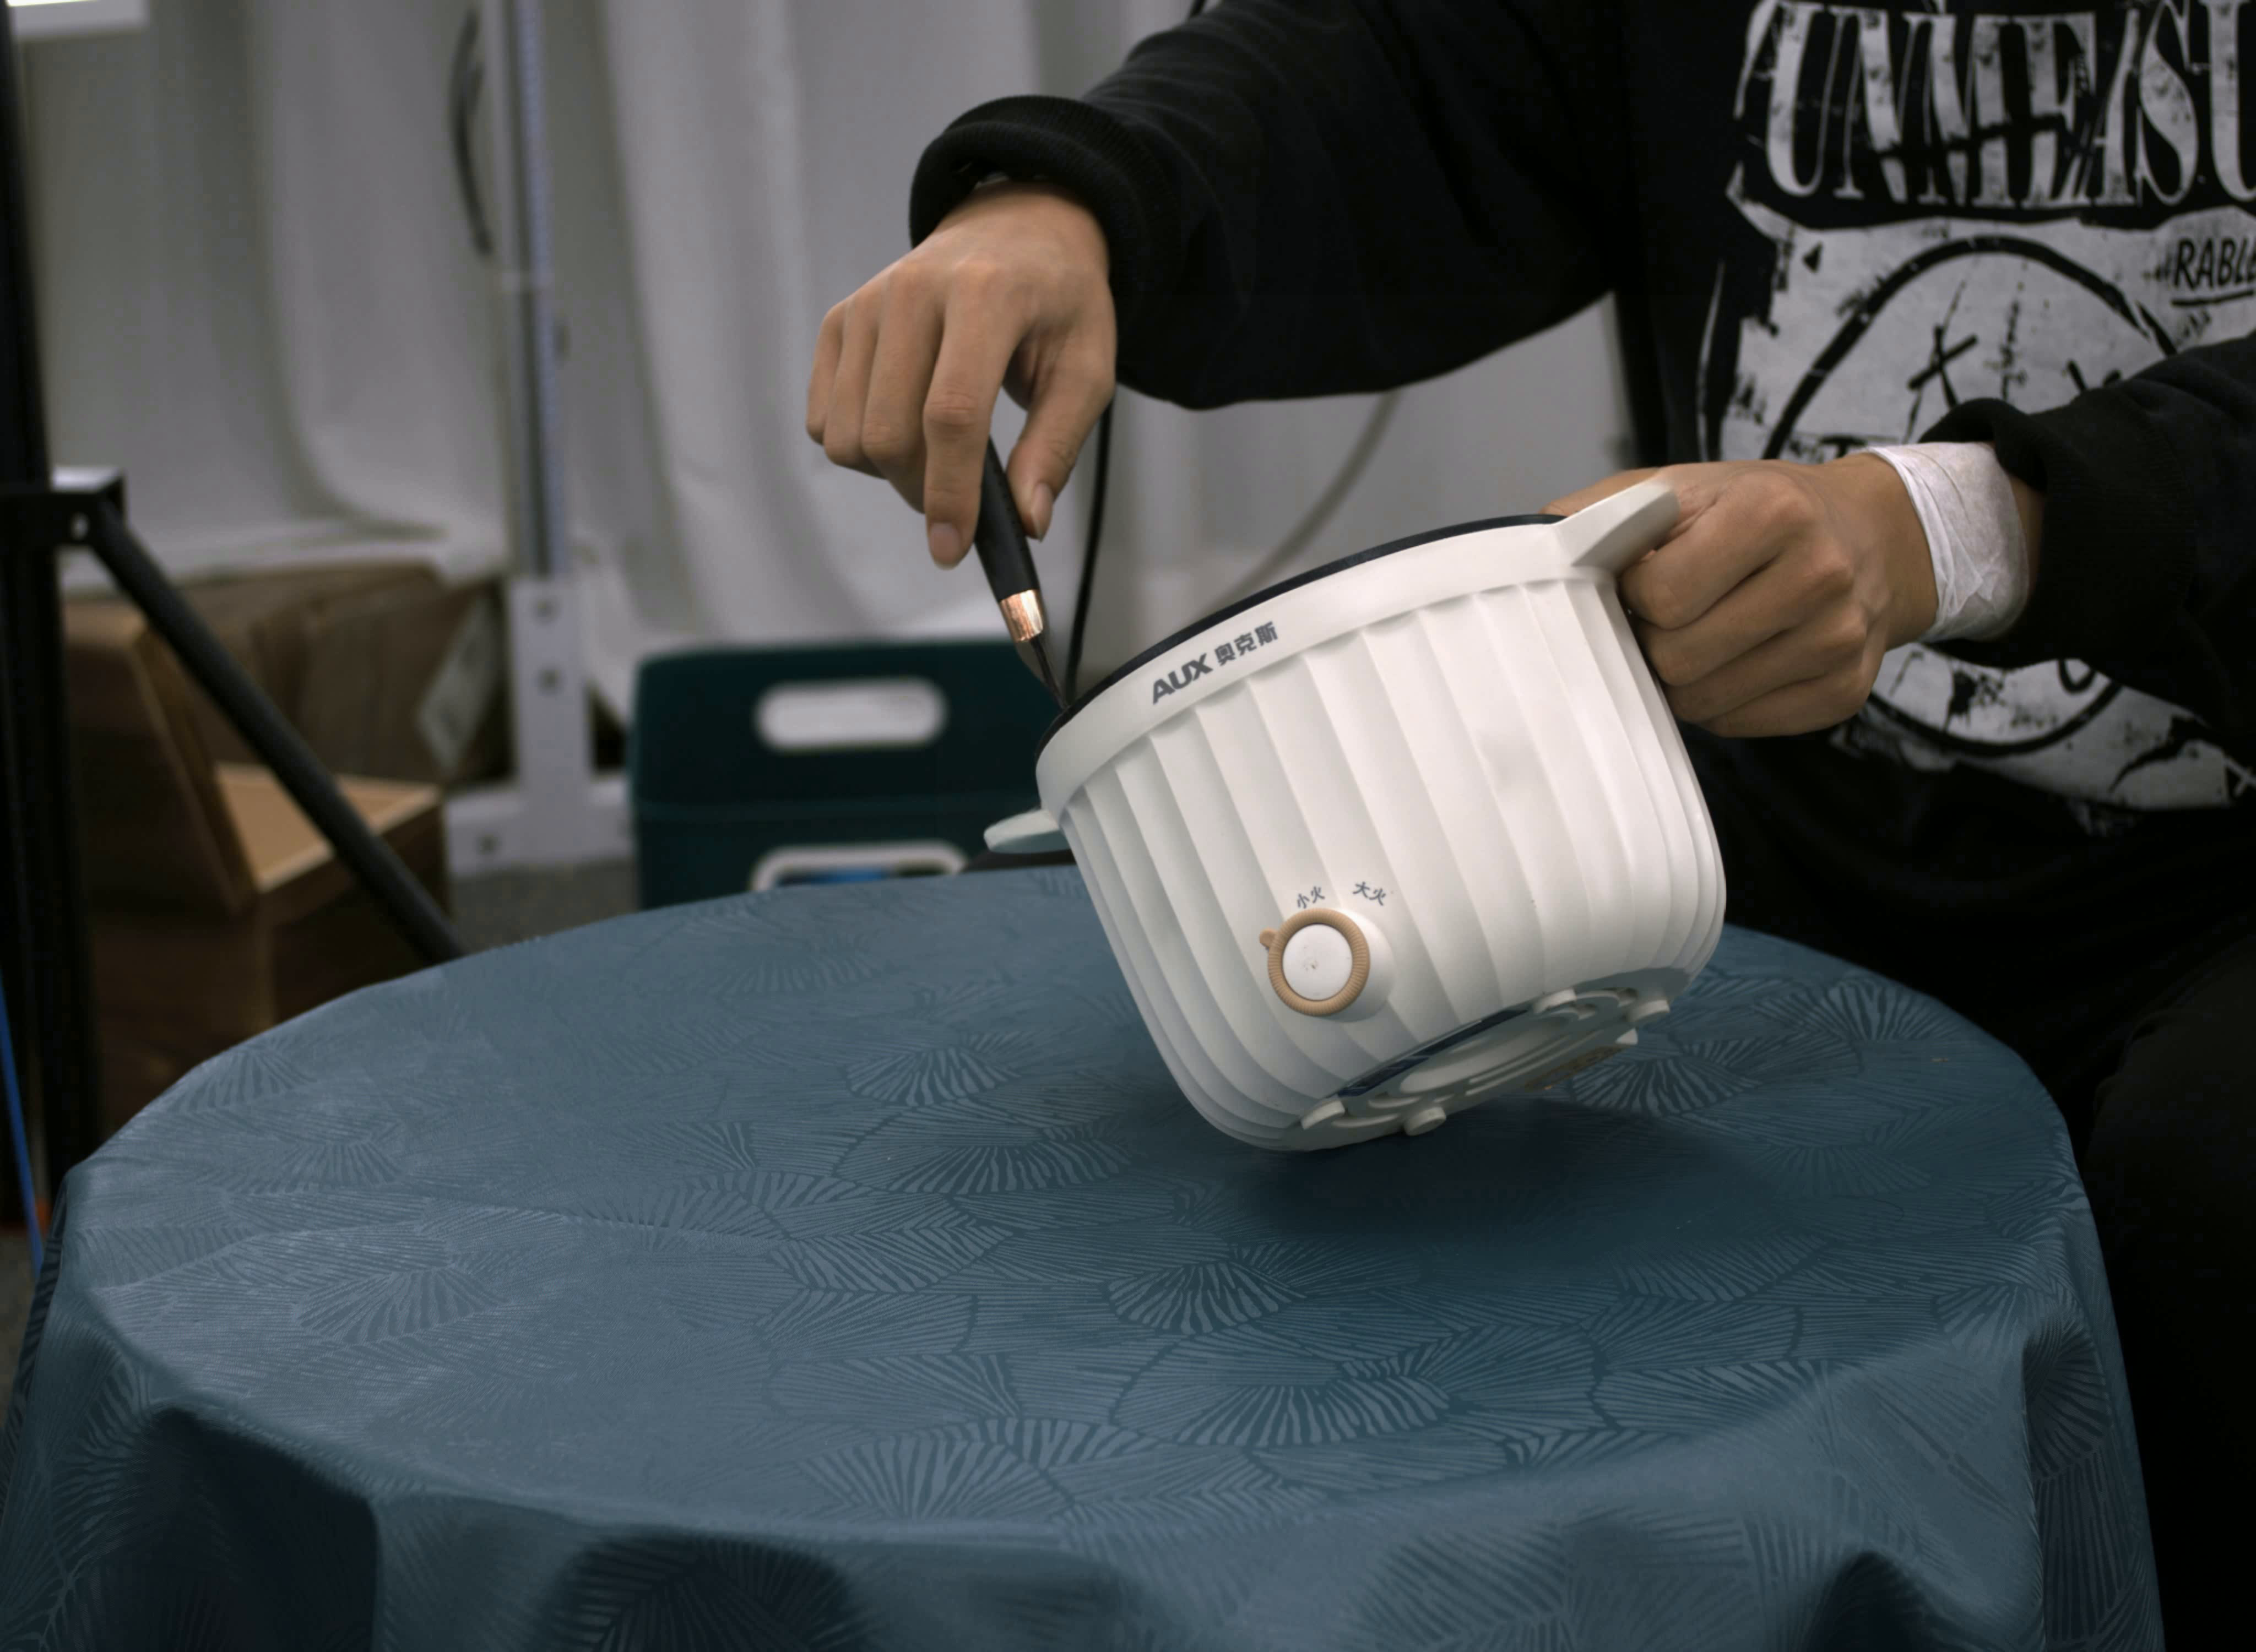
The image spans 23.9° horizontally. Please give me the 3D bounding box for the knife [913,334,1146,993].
[{"bbox_3d":[-0.028,-0.051,1.603,0.017,0.229,0.026,-7,-29,-23],"label":"knife"}]

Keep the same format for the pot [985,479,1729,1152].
[{"bbox_3d":[0.080,0.008,1.548,0.242,0.144,0.186,-28,-19,21],"label":"pot"}]
